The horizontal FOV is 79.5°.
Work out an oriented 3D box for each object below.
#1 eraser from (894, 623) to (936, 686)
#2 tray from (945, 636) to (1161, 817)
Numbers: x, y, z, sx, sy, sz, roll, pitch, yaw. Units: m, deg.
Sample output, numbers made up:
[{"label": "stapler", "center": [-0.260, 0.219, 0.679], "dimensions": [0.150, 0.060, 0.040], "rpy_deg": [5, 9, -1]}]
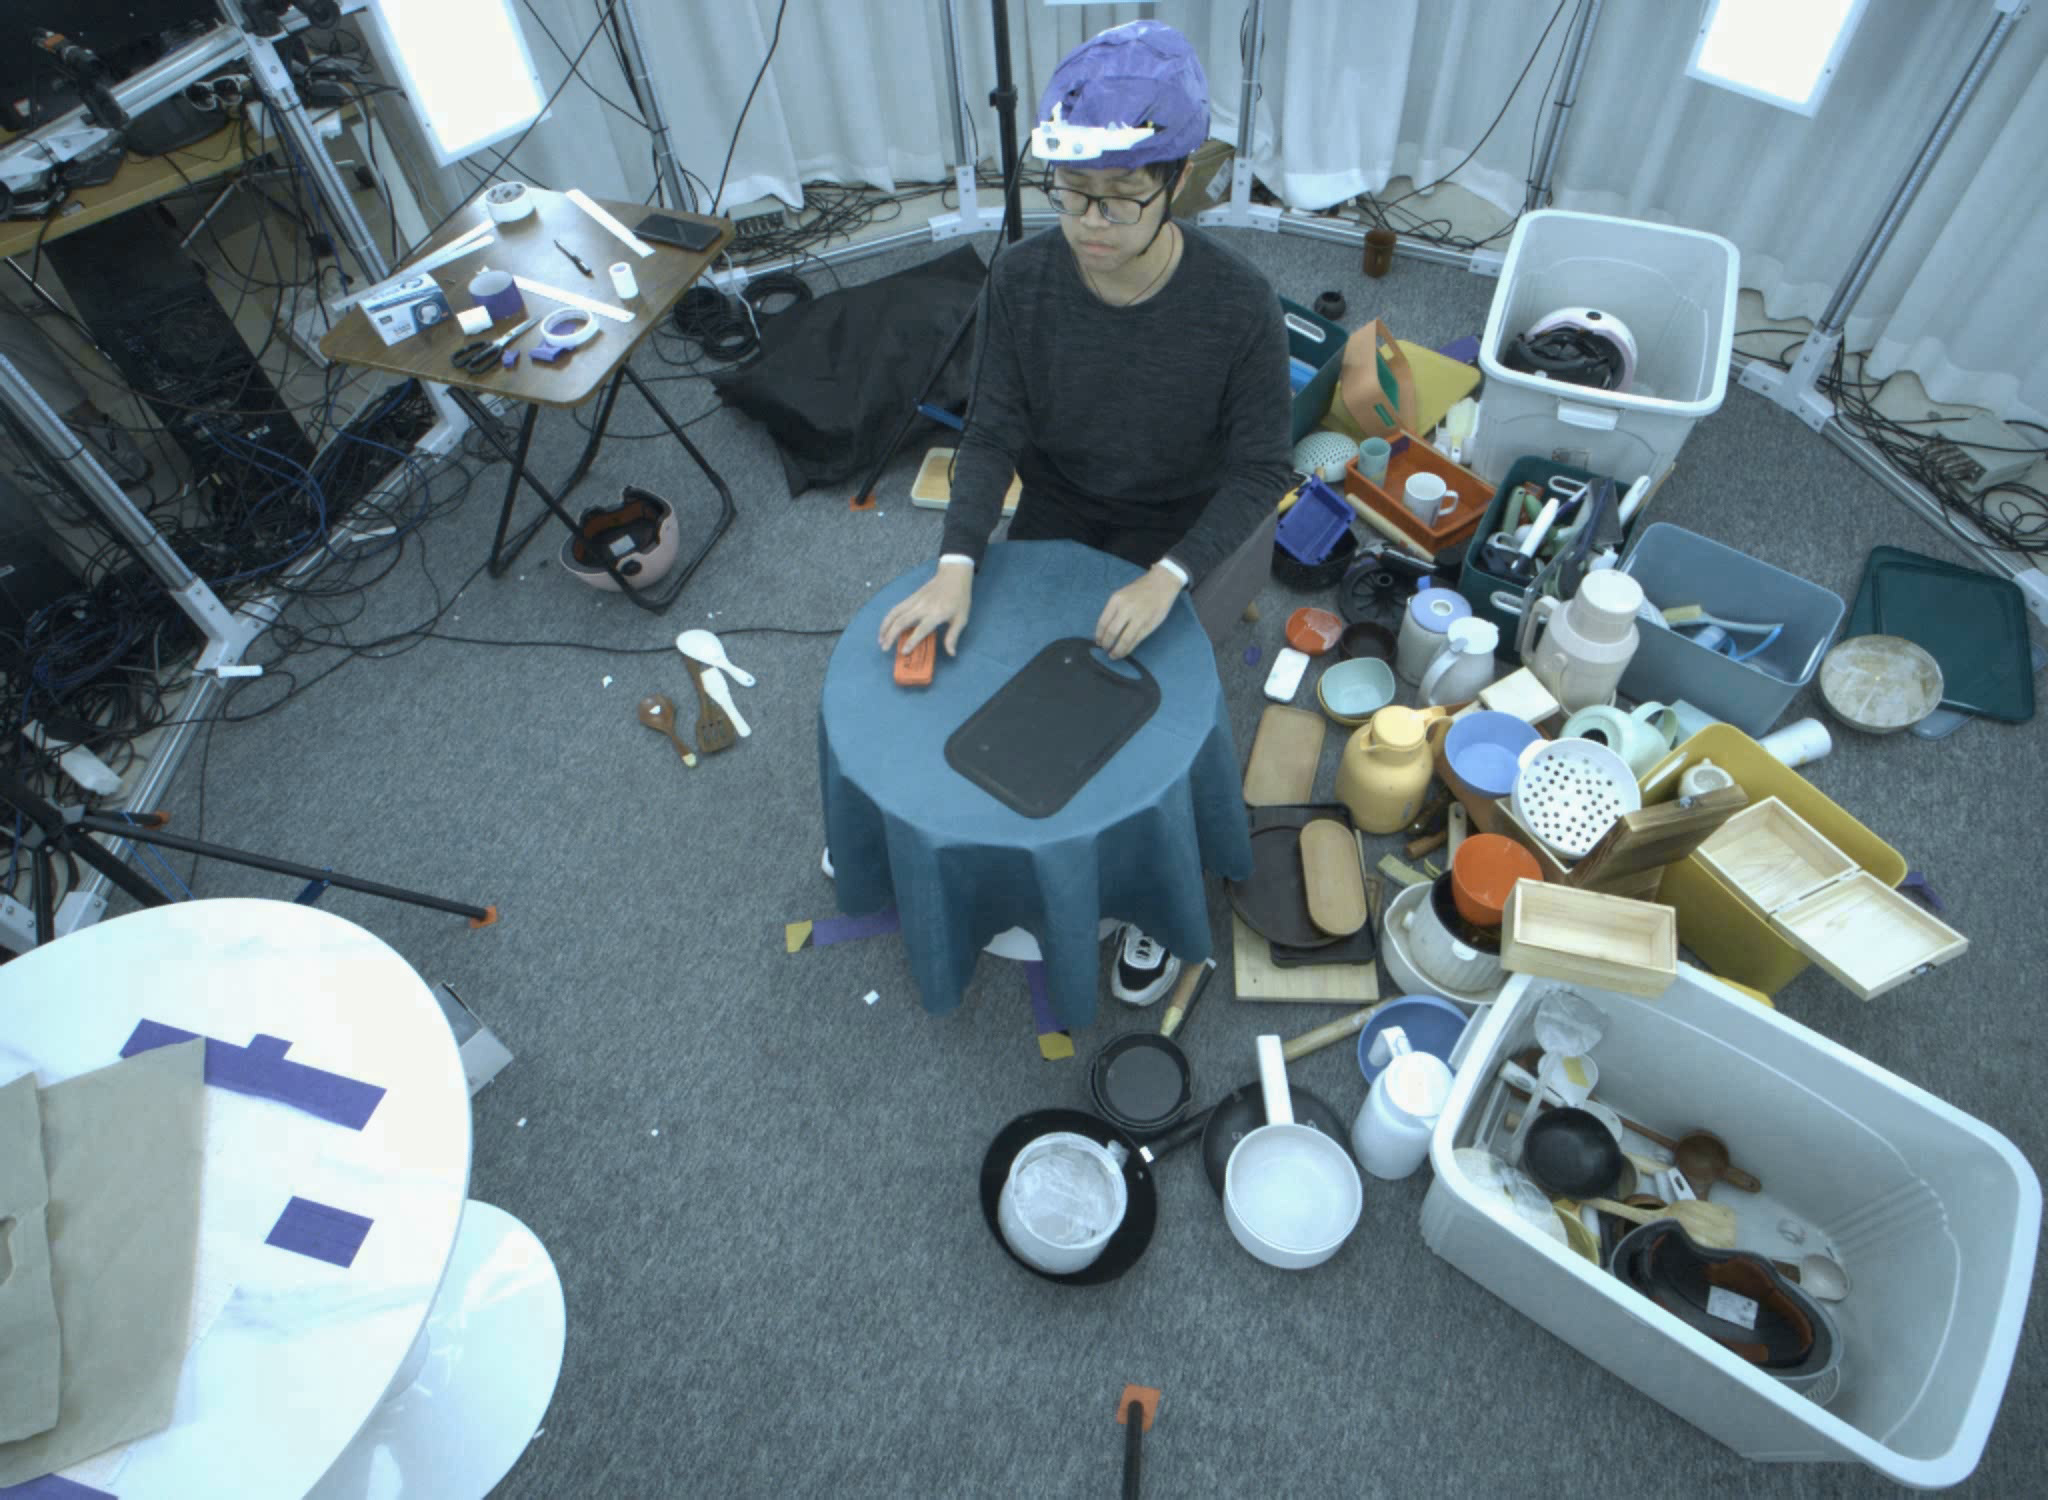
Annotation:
[{"label": "eraser", "center": [-0.167, -0.147, 1.874], "dimensions": [0.059, 0.023, 0.107], "rpy_deg": [0, 55, 1]}, {"label": "tray", "center": [0.049, -0.048, 1.816], "dimensions": [0.207, 0.010, 0.327], "rpy_deg": [35, 63, 23]}]
